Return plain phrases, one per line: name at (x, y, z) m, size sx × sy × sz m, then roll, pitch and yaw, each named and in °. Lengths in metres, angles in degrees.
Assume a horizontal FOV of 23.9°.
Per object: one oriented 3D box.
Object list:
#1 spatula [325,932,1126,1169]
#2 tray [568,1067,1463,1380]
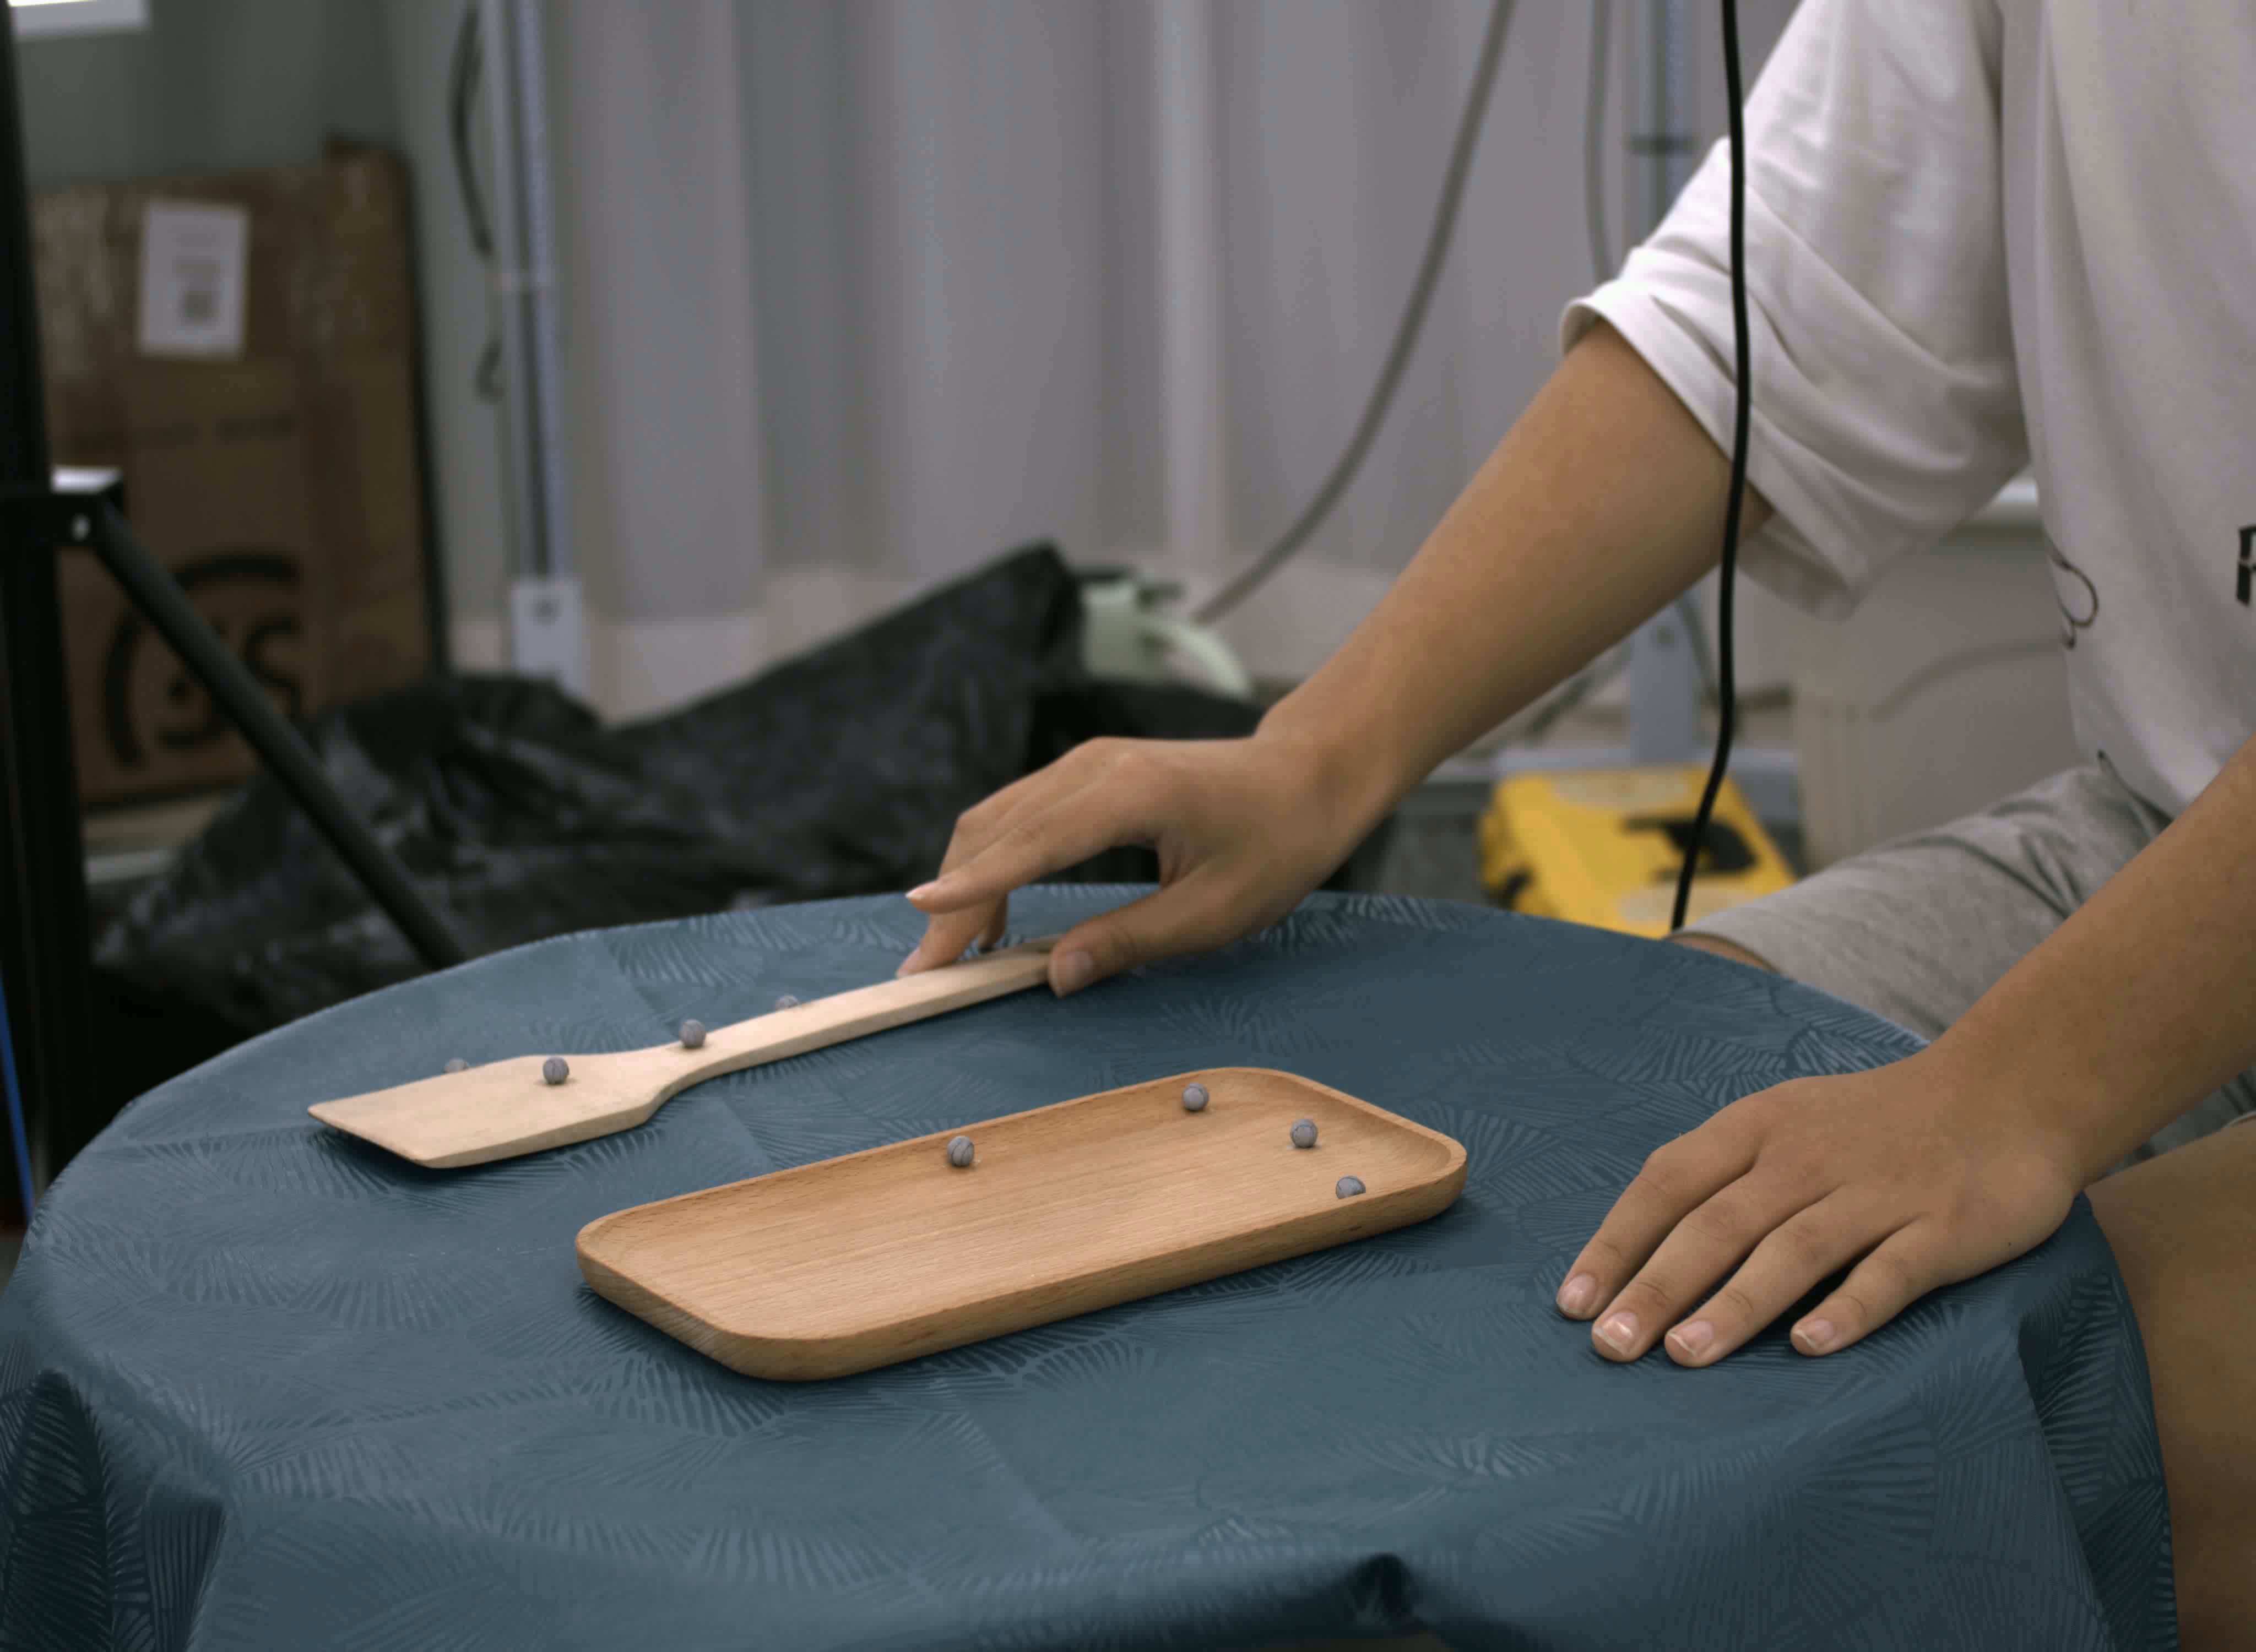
spatula at (-0.117, 0.068, 1.701) m, size 0.286 × 0.010 × 0.074 m, roll -15°, pitch 19°, yaw -36°
tray at (-0.030, 0.112, 1.521) m, size 0.245 × 0.023 × 0.133 m, roll -12°, pitch 16°, yaw -30°
